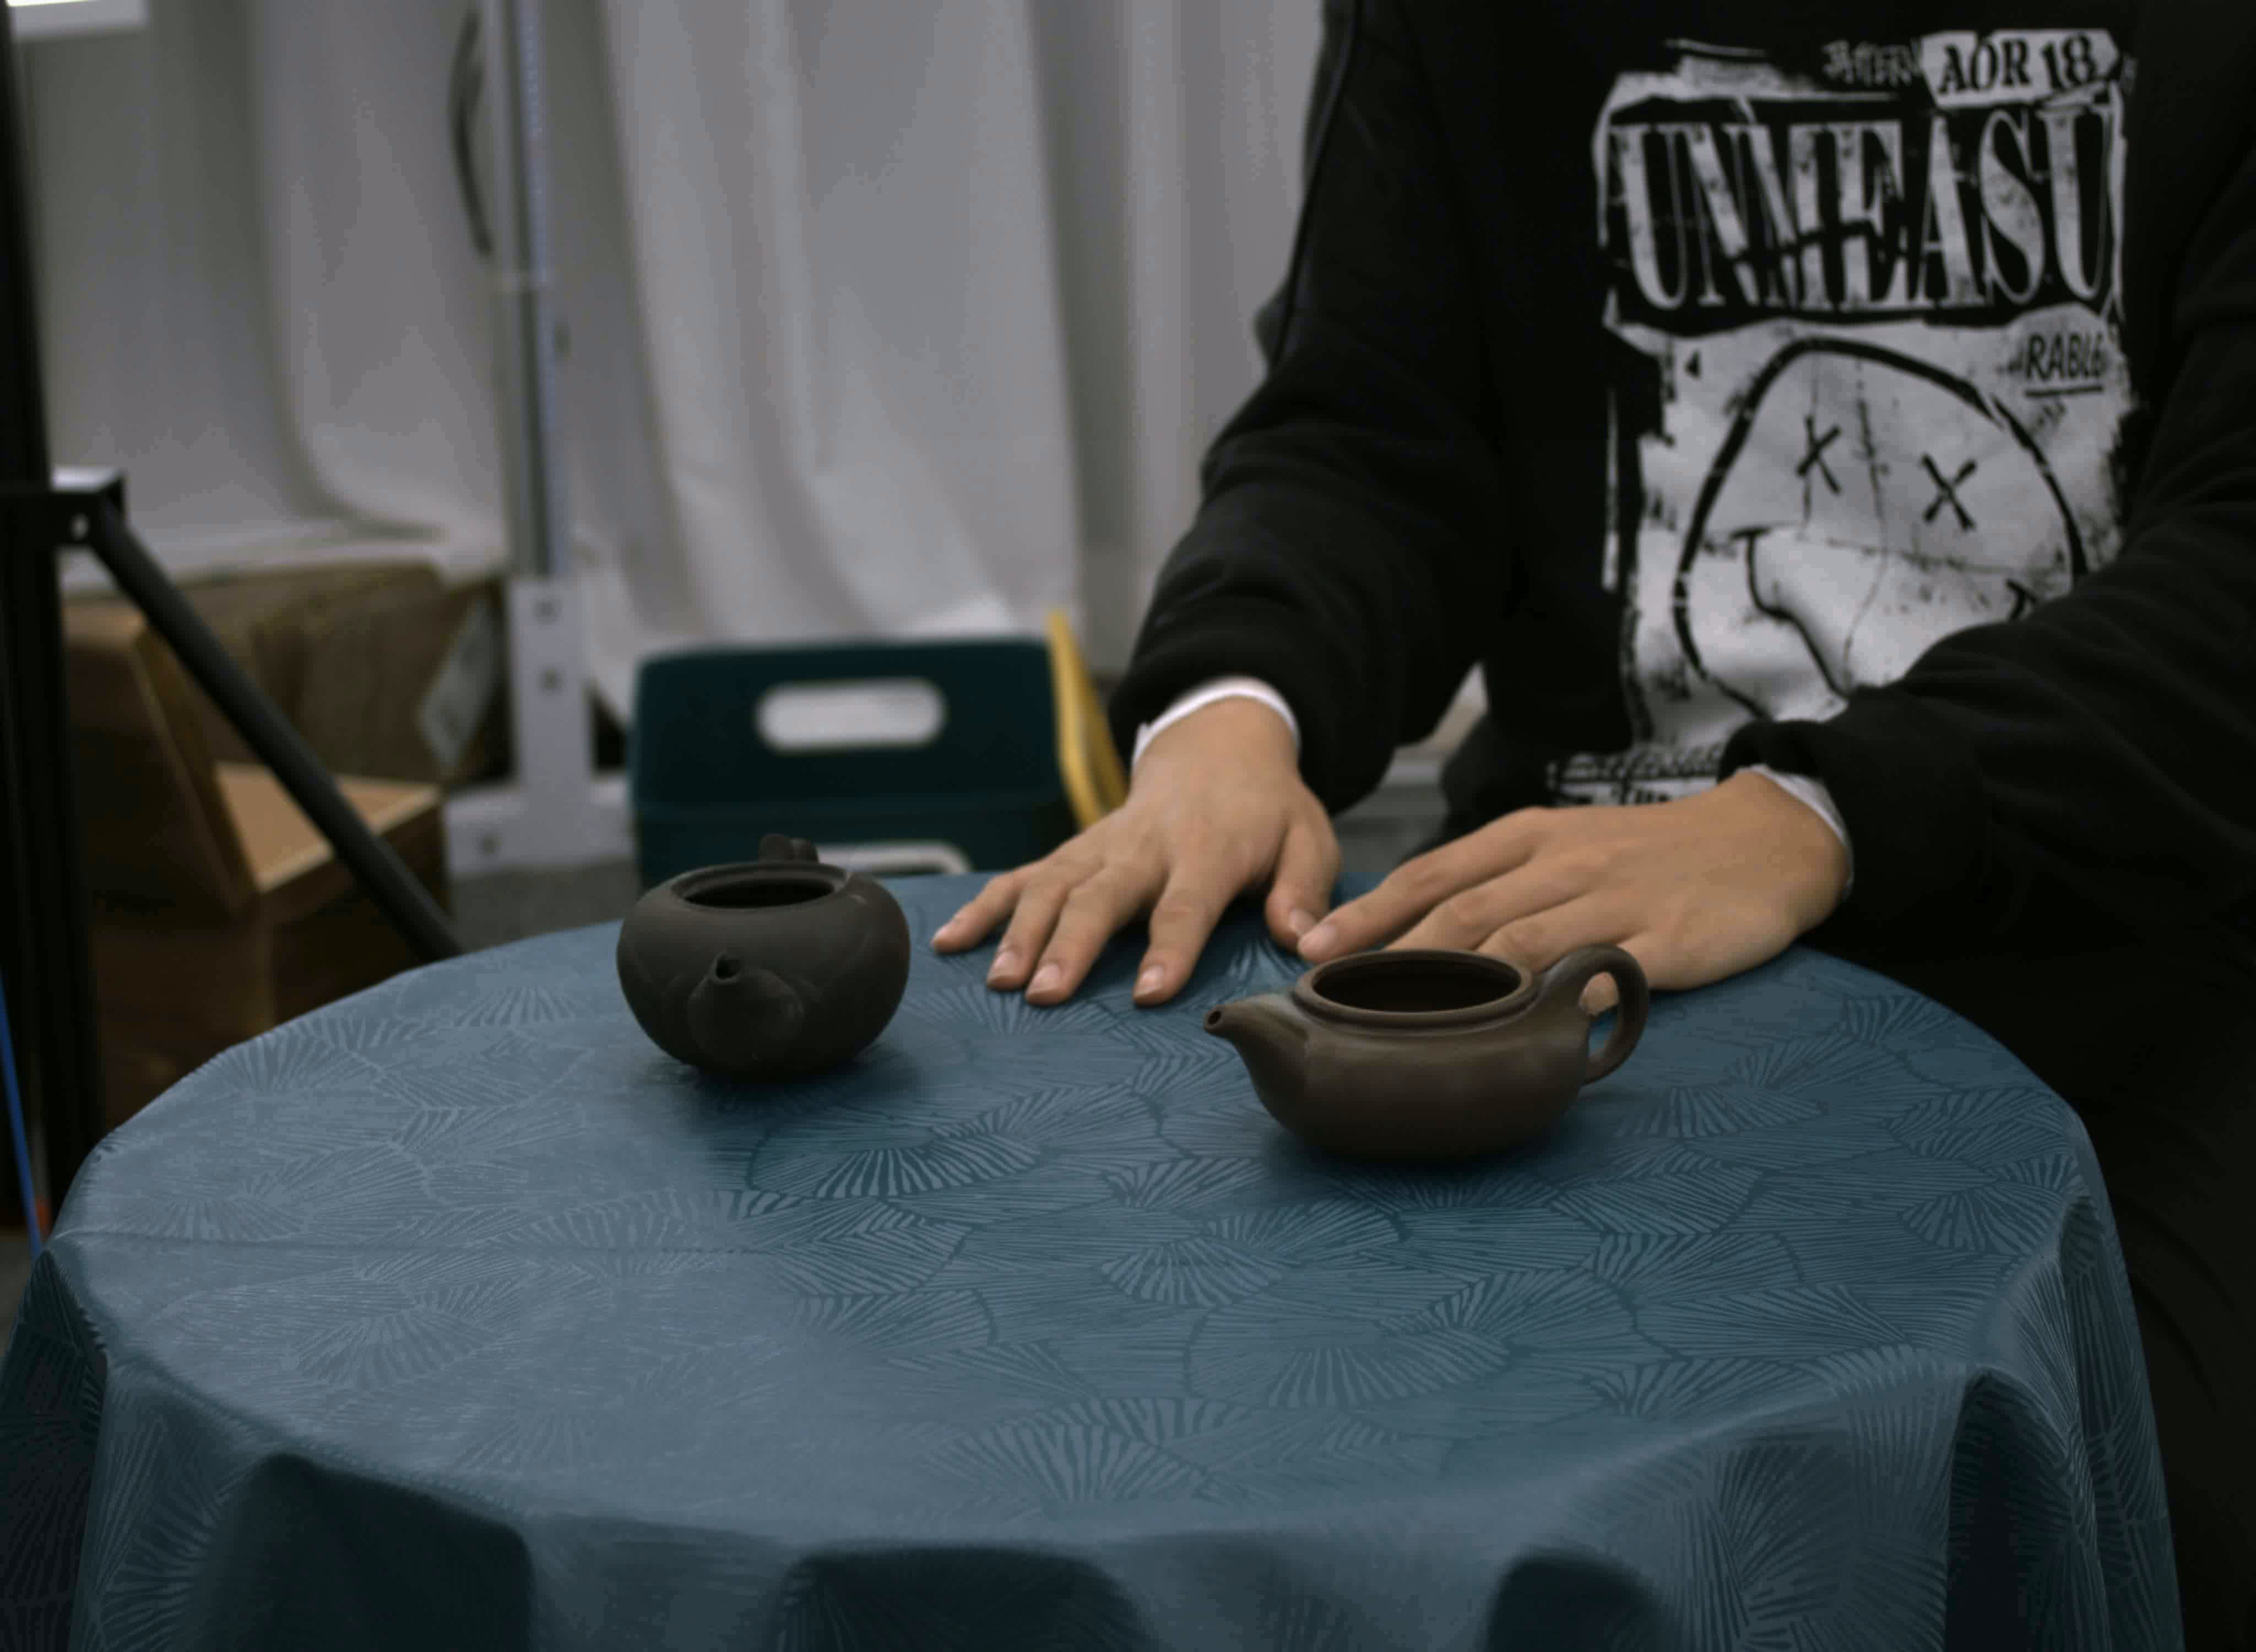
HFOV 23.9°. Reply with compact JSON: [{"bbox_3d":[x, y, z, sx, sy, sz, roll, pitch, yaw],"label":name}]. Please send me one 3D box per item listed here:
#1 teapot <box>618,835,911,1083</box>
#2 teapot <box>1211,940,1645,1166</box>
[{"bbox_3d":[-0.114,0.043,1.688,0.092,0.064,0.154,2,16,7],"label":"teapot"},{"bbox_3d":[0.091,0.066,1.588,0.150,0.054,0.105,-13,20,-31],"label":"teapot"}]
